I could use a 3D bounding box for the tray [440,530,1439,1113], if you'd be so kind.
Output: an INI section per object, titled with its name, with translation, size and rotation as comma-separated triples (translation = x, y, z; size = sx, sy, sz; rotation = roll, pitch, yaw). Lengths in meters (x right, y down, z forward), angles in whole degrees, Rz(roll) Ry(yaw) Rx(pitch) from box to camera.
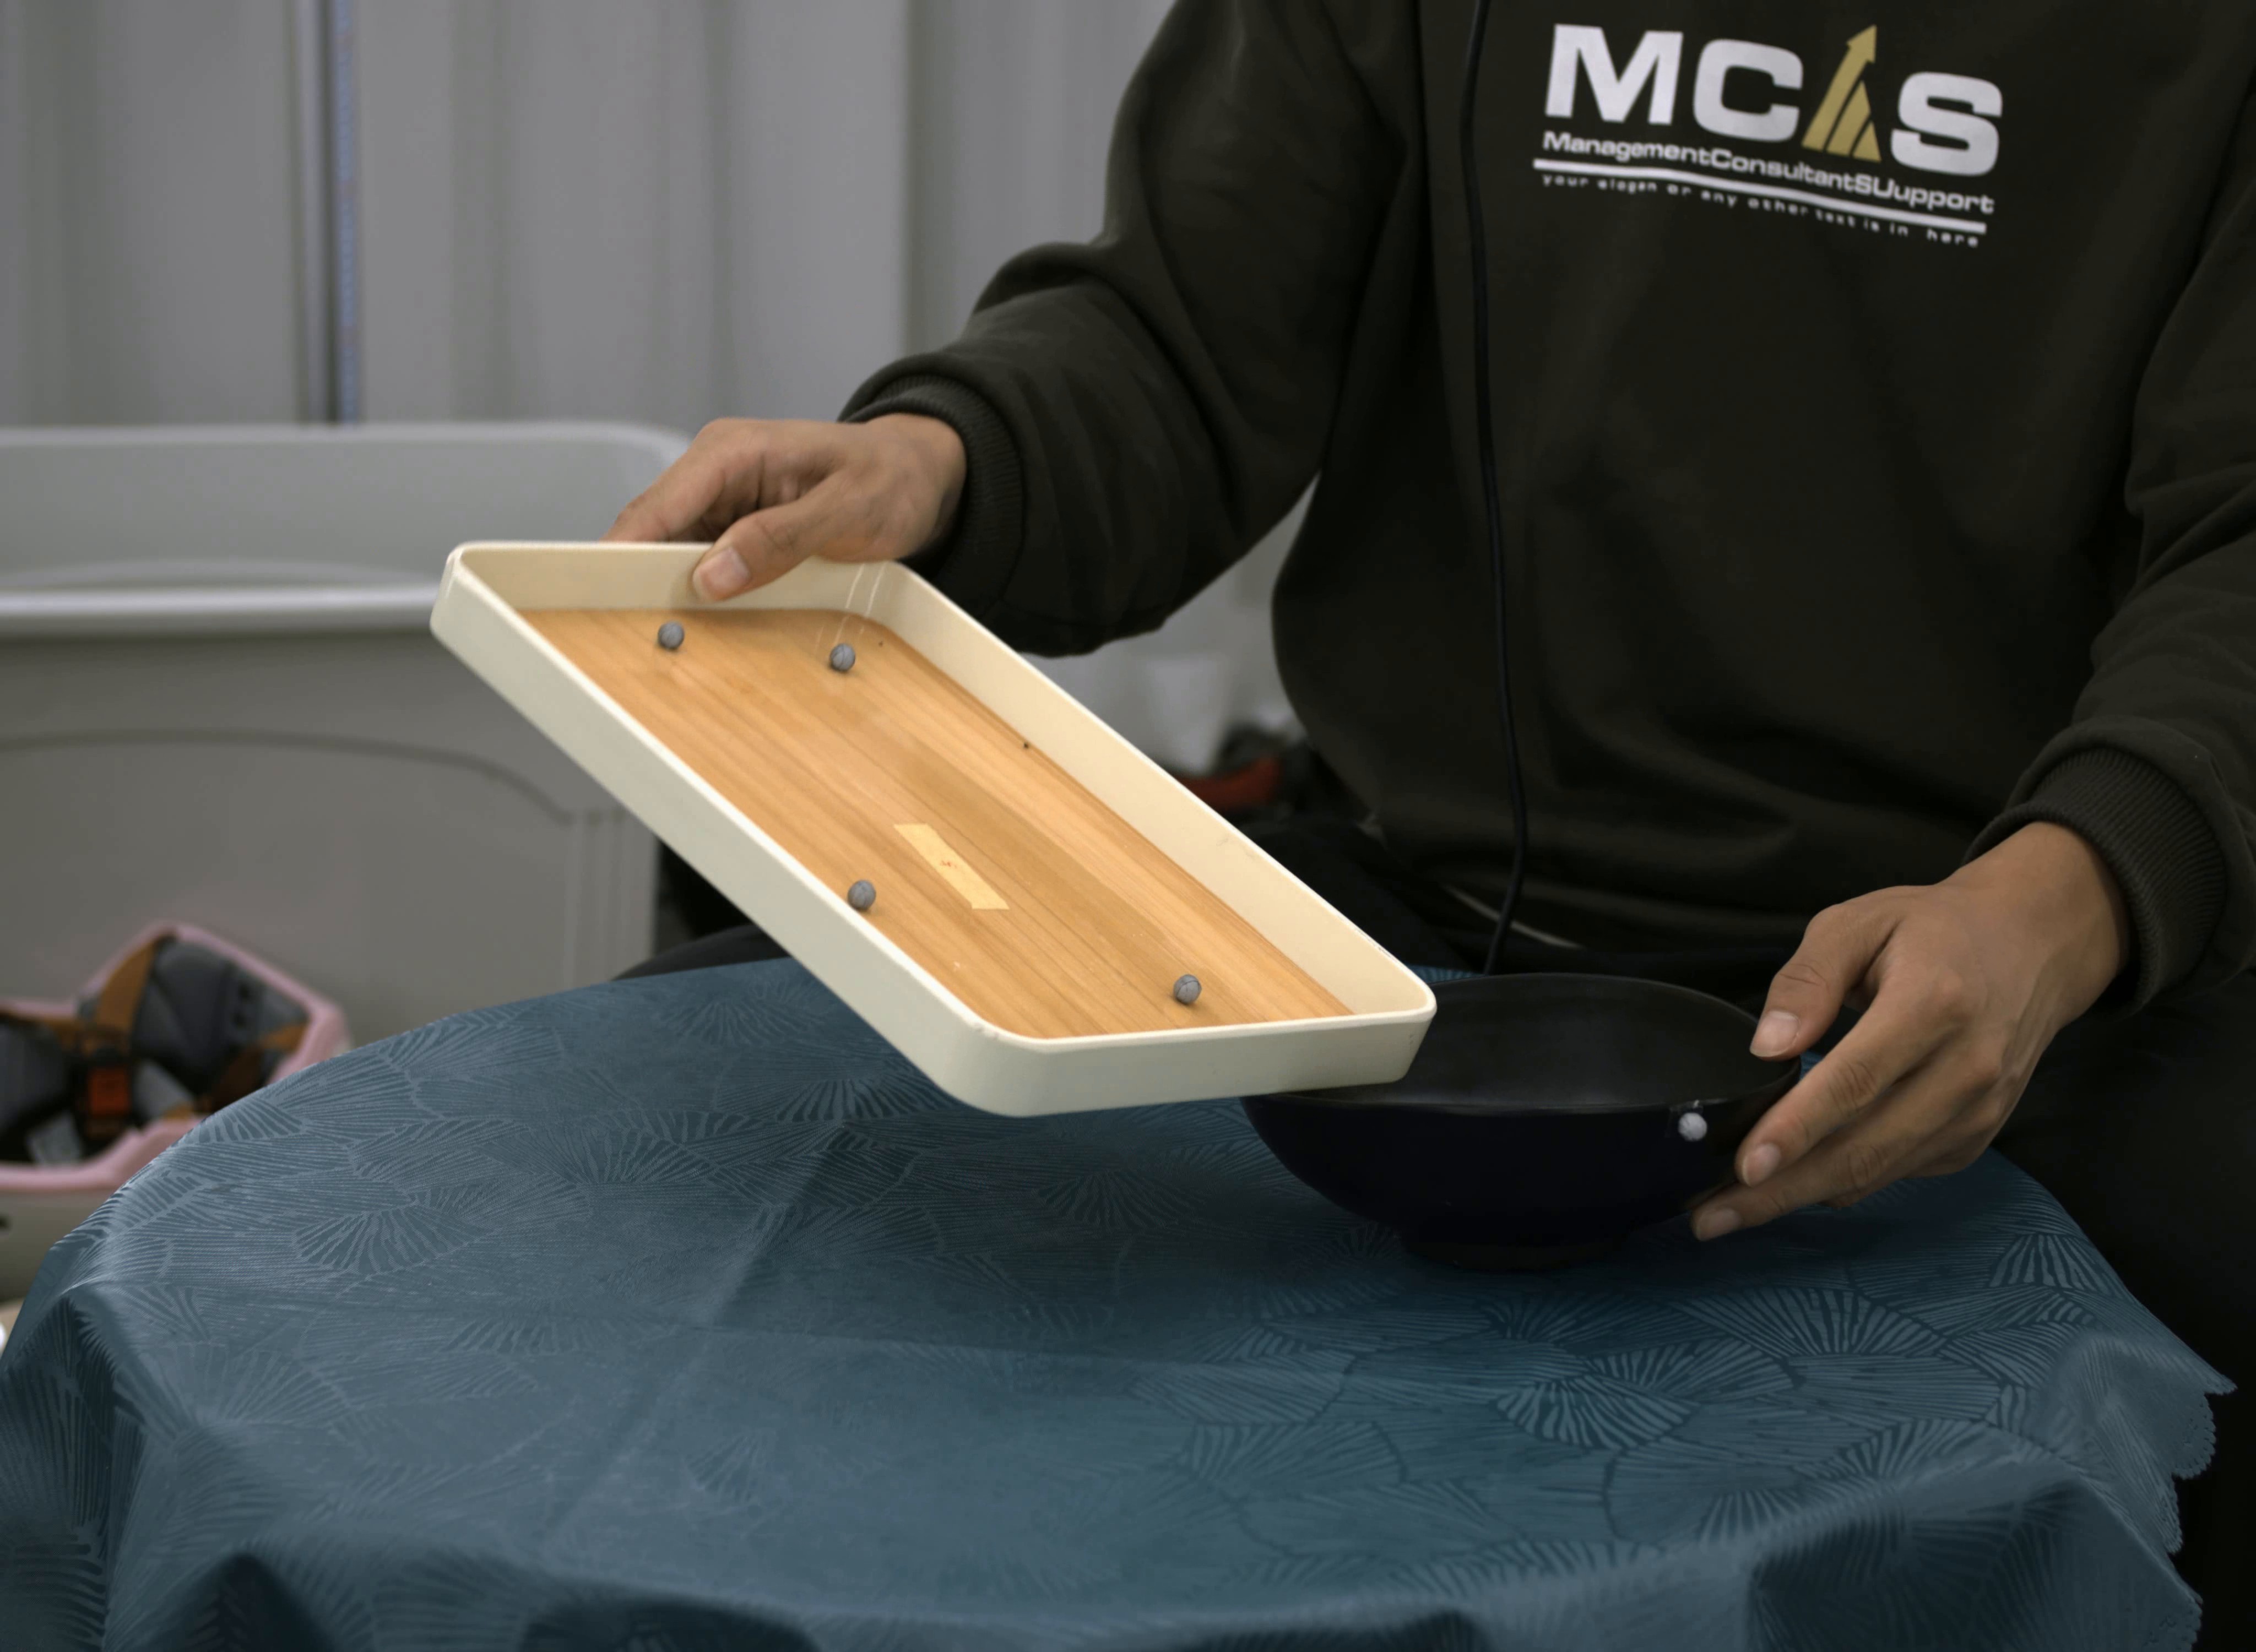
[tray]
translation = -0.061, -0.007, 1.616
size = 0.193, 0.027, 0.296
rotation = -2, 33, -45

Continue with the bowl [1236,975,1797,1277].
[bowl]
translation = 0.116, 0.095, 1.583
size = 0.169, 0.067, 0.137
rotation = -1, 14, 10
